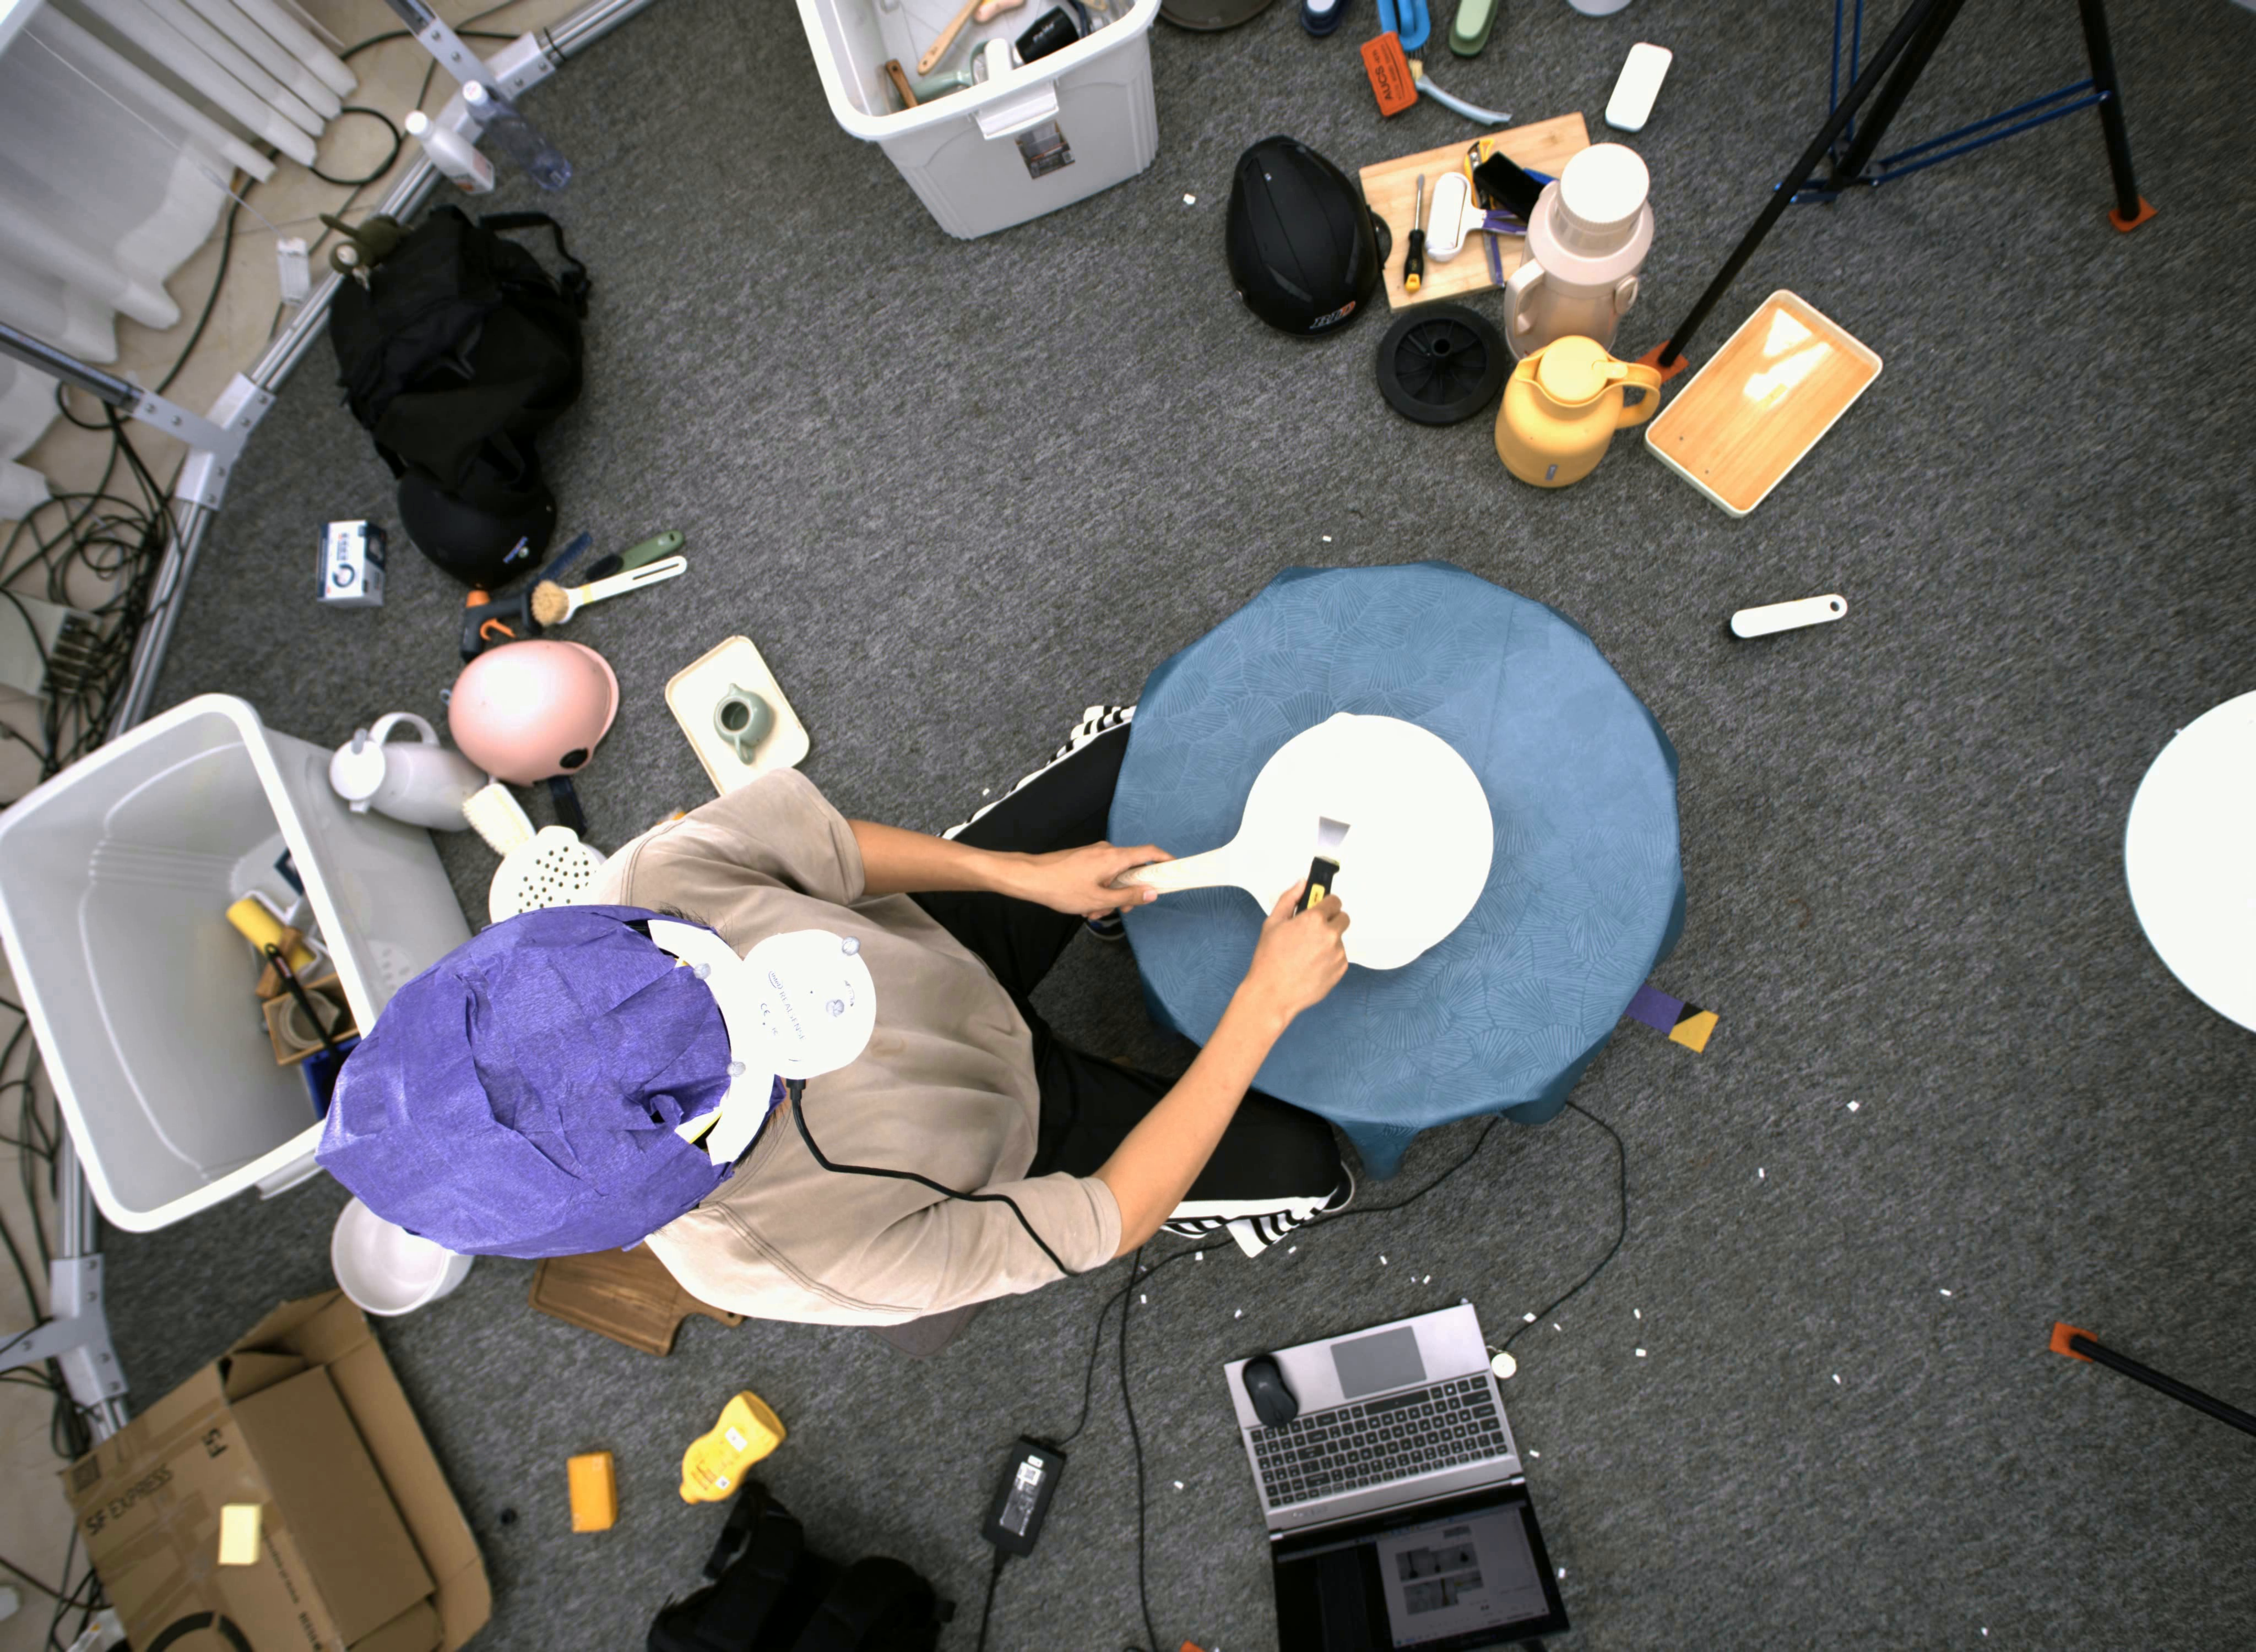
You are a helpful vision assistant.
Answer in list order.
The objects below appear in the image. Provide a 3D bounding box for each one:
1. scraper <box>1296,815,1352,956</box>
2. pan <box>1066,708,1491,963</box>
[{"bbox_3d":[0.193,0.057,1.367,0.039,0.015,0.166,17,53,1],"label":"scraper"},{"bbox_3d":[0.154,0.029,1.437,0.437,0.102,0.262,-12,86,10],"label":"pan"}]
